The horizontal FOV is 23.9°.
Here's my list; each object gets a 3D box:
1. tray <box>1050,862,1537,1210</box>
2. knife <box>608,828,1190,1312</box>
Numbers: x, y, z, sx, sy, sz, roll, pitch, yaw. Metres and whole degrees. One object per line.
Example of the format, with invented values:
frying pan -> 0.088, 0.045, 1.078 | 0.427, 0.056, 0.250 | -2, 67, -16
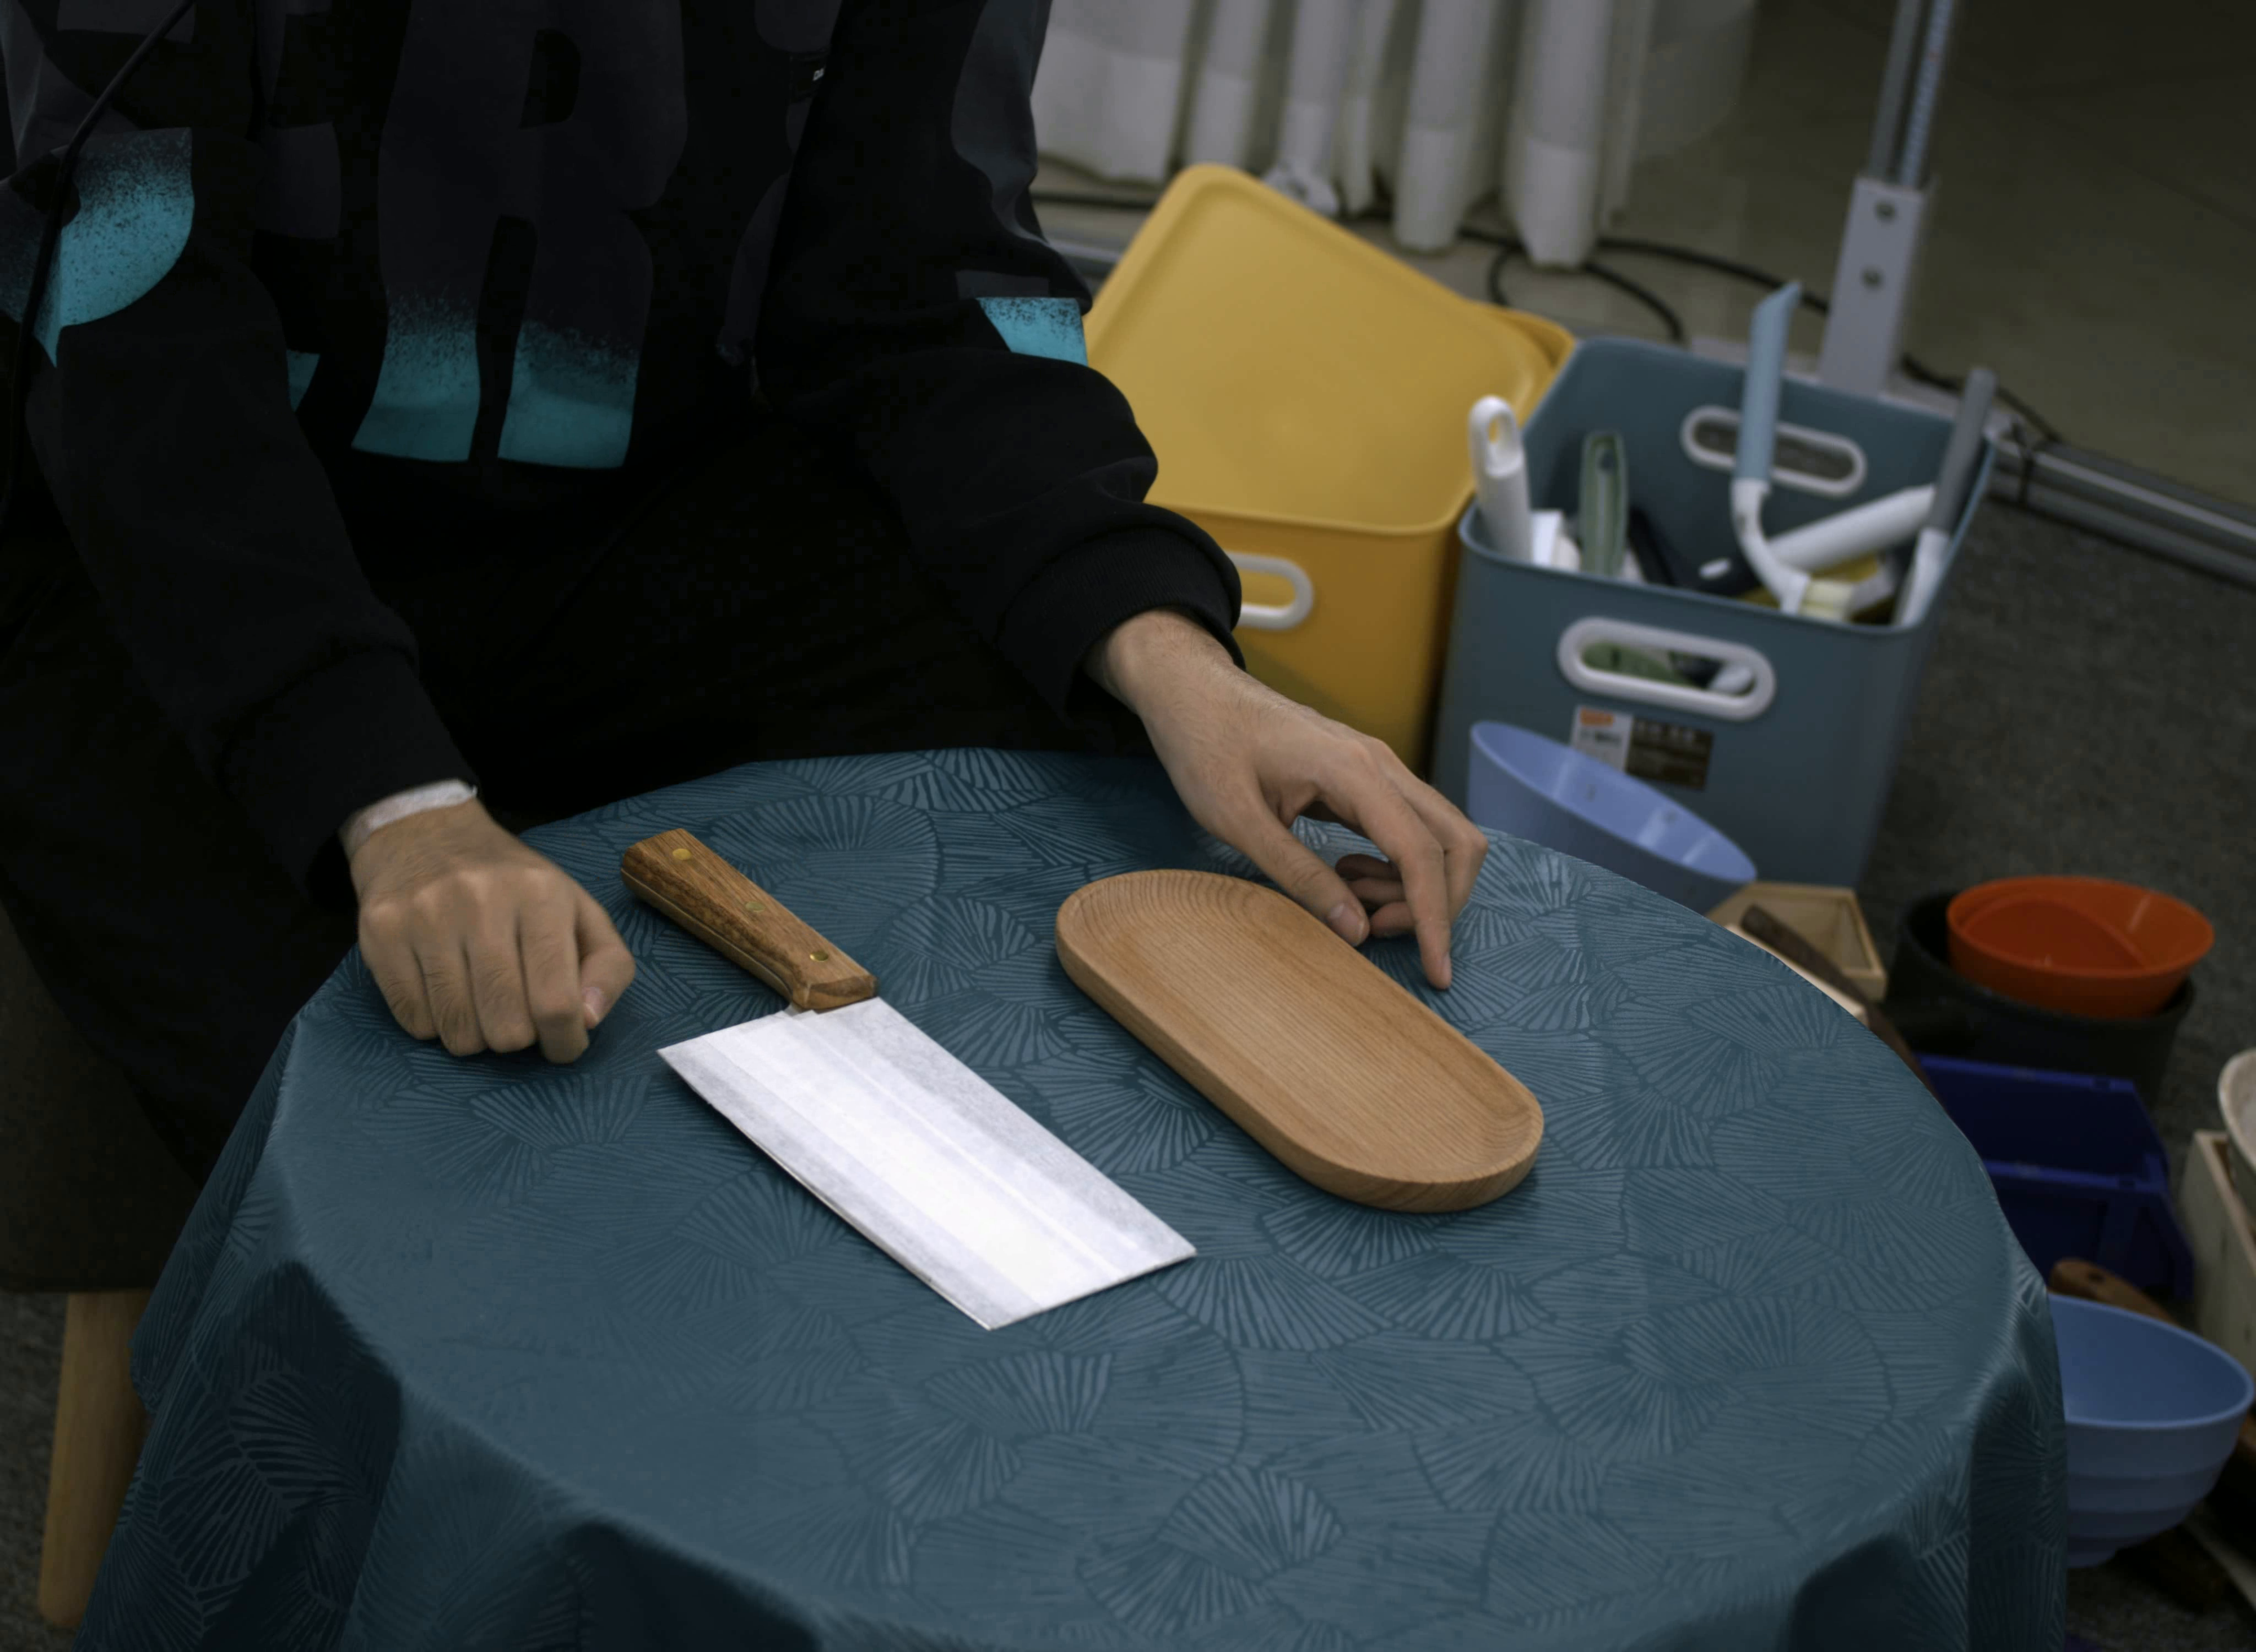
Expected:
tray -> 0.057, 0.073, 1.896 | 0.101, 0.020, 0.233 | -11, 31, -31
knife -> -0.104, 0.084, 1.840 | 0.092, 0.021, 0.308 | -17, 38, -35
